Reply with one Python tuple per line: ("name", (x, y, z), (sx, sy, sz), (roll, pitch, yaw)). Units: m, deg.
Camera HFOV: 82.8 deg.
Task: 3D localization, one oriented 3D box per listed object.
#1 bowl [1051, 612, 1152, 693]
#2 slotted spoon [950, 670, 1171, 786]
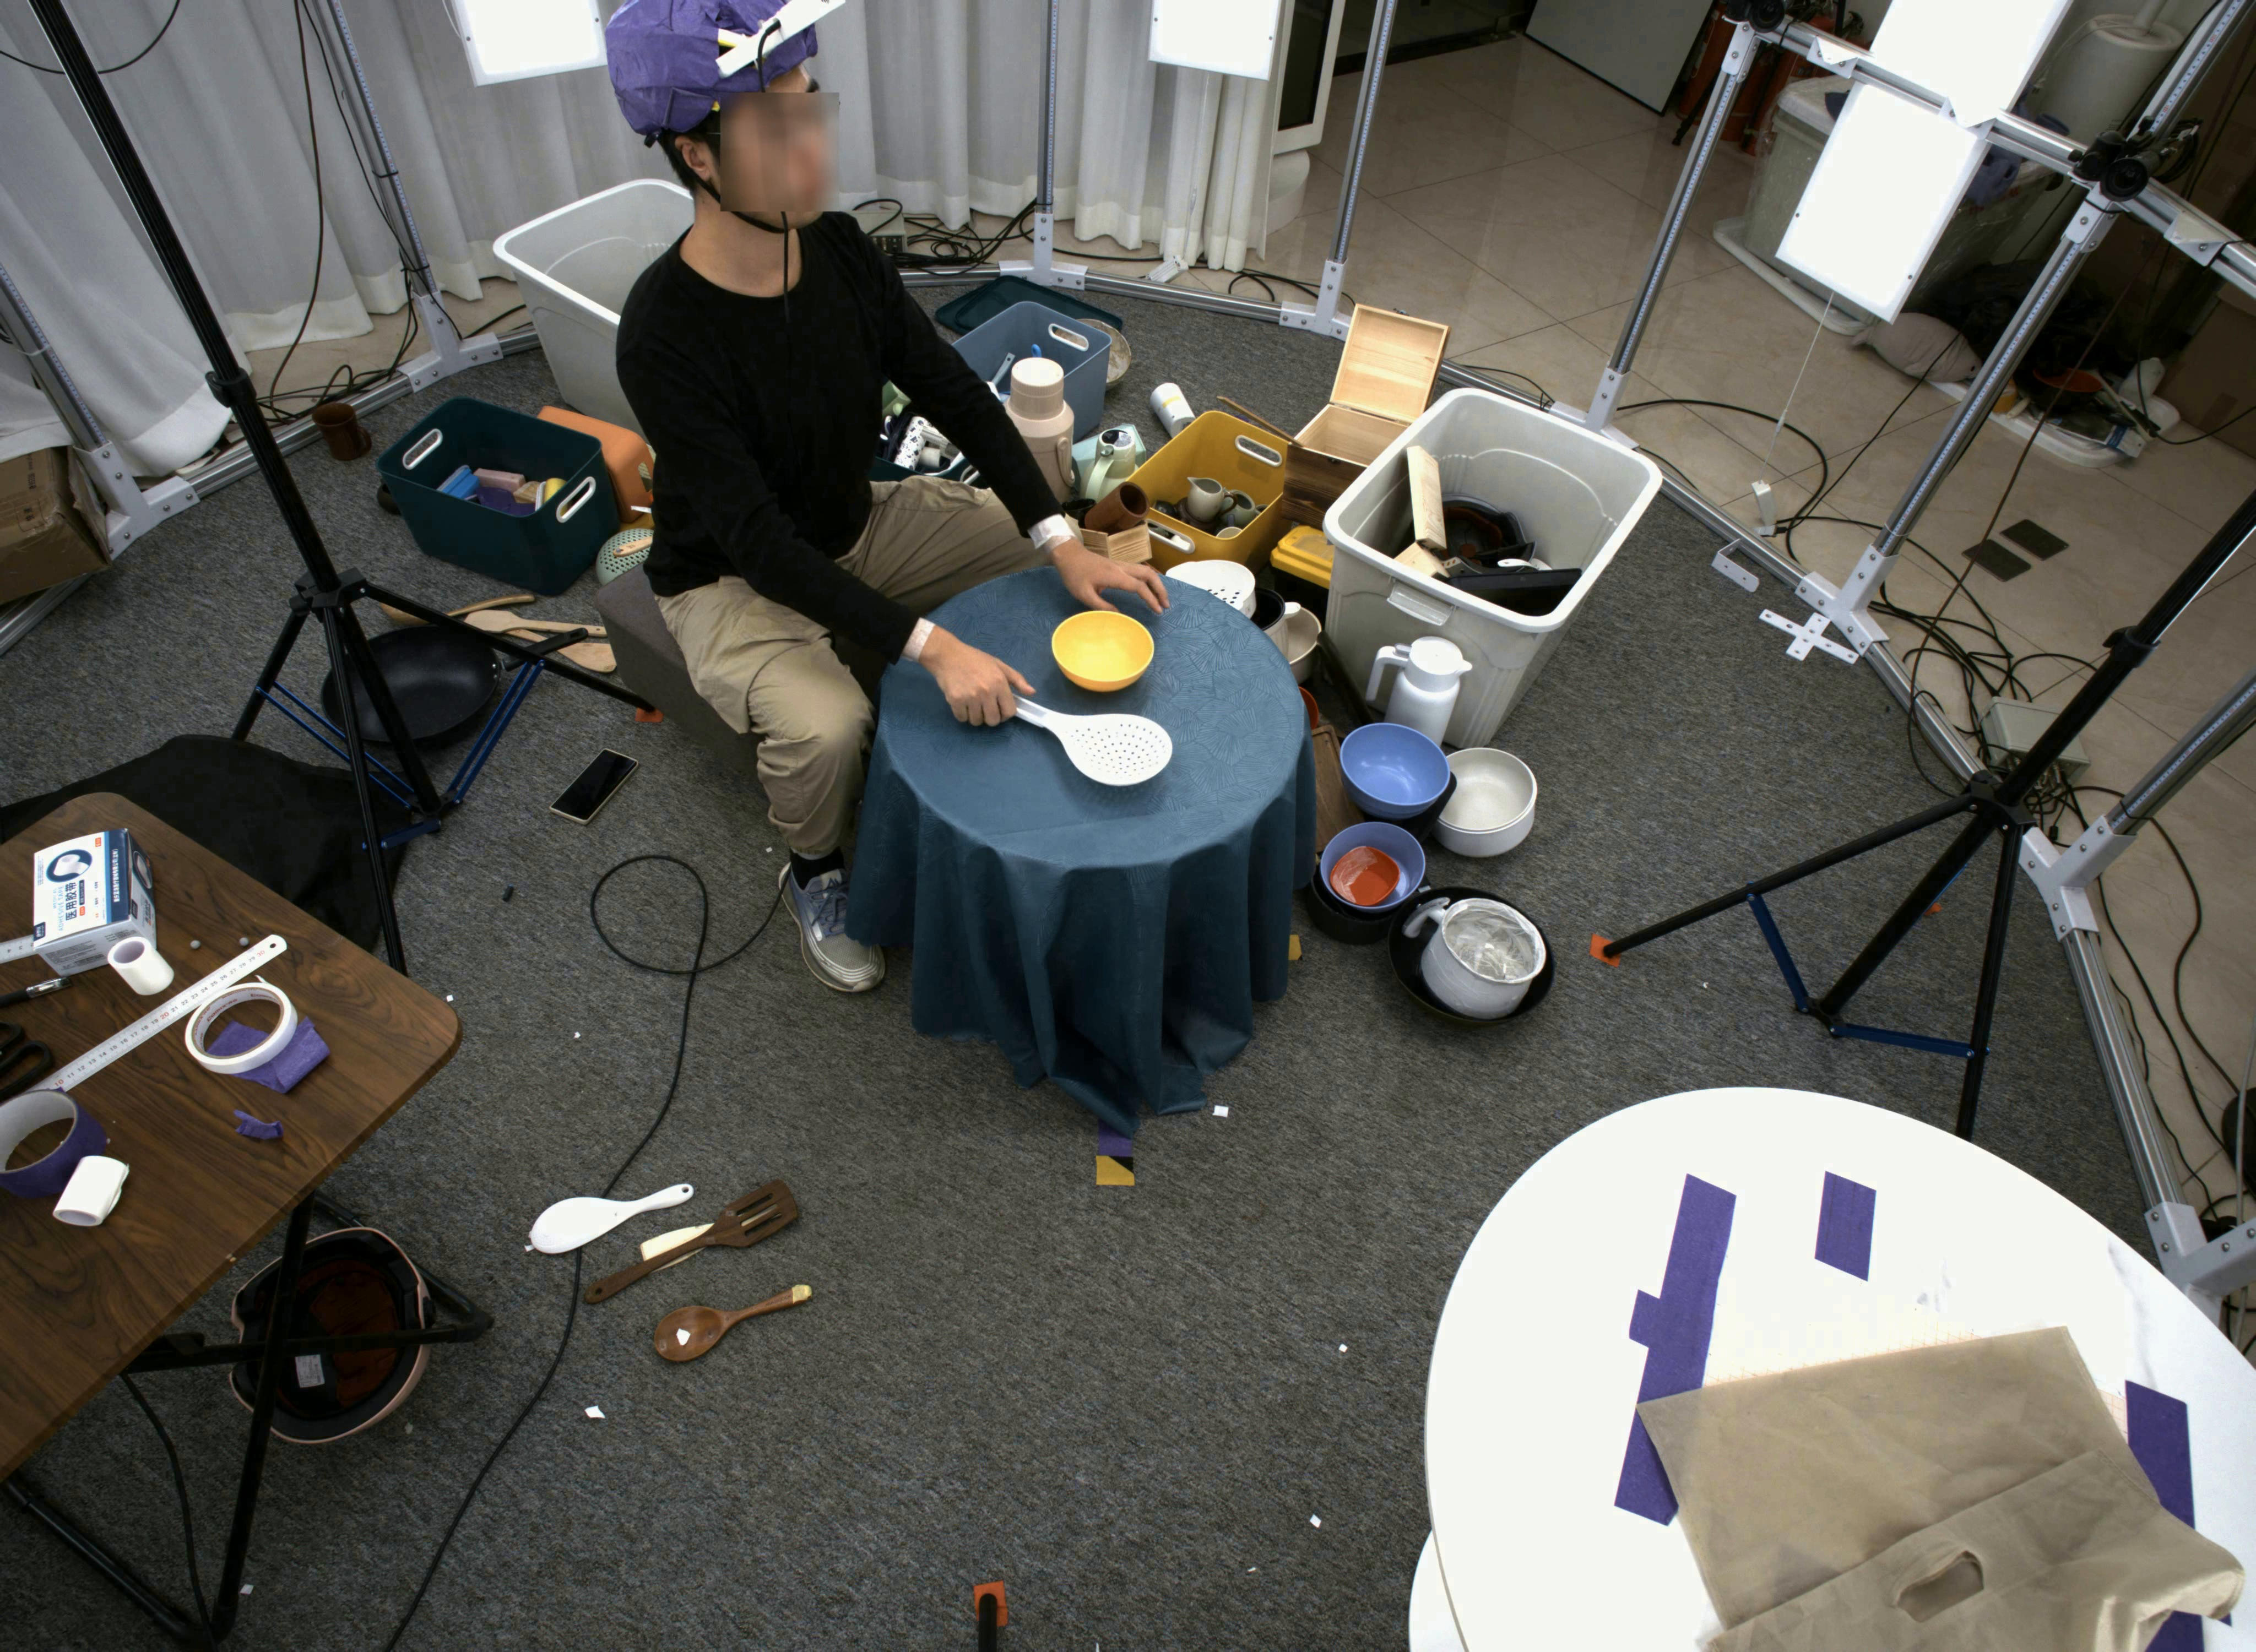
("bowl", (-0.040, -0.237, 1.837), (0.145, 0.058, 0.149), (3, 49, -4))
("slotted spoon", (-0.101, -0.142, 1.756), (0.353, 0.044, 0.138), (28, 52, 20))
